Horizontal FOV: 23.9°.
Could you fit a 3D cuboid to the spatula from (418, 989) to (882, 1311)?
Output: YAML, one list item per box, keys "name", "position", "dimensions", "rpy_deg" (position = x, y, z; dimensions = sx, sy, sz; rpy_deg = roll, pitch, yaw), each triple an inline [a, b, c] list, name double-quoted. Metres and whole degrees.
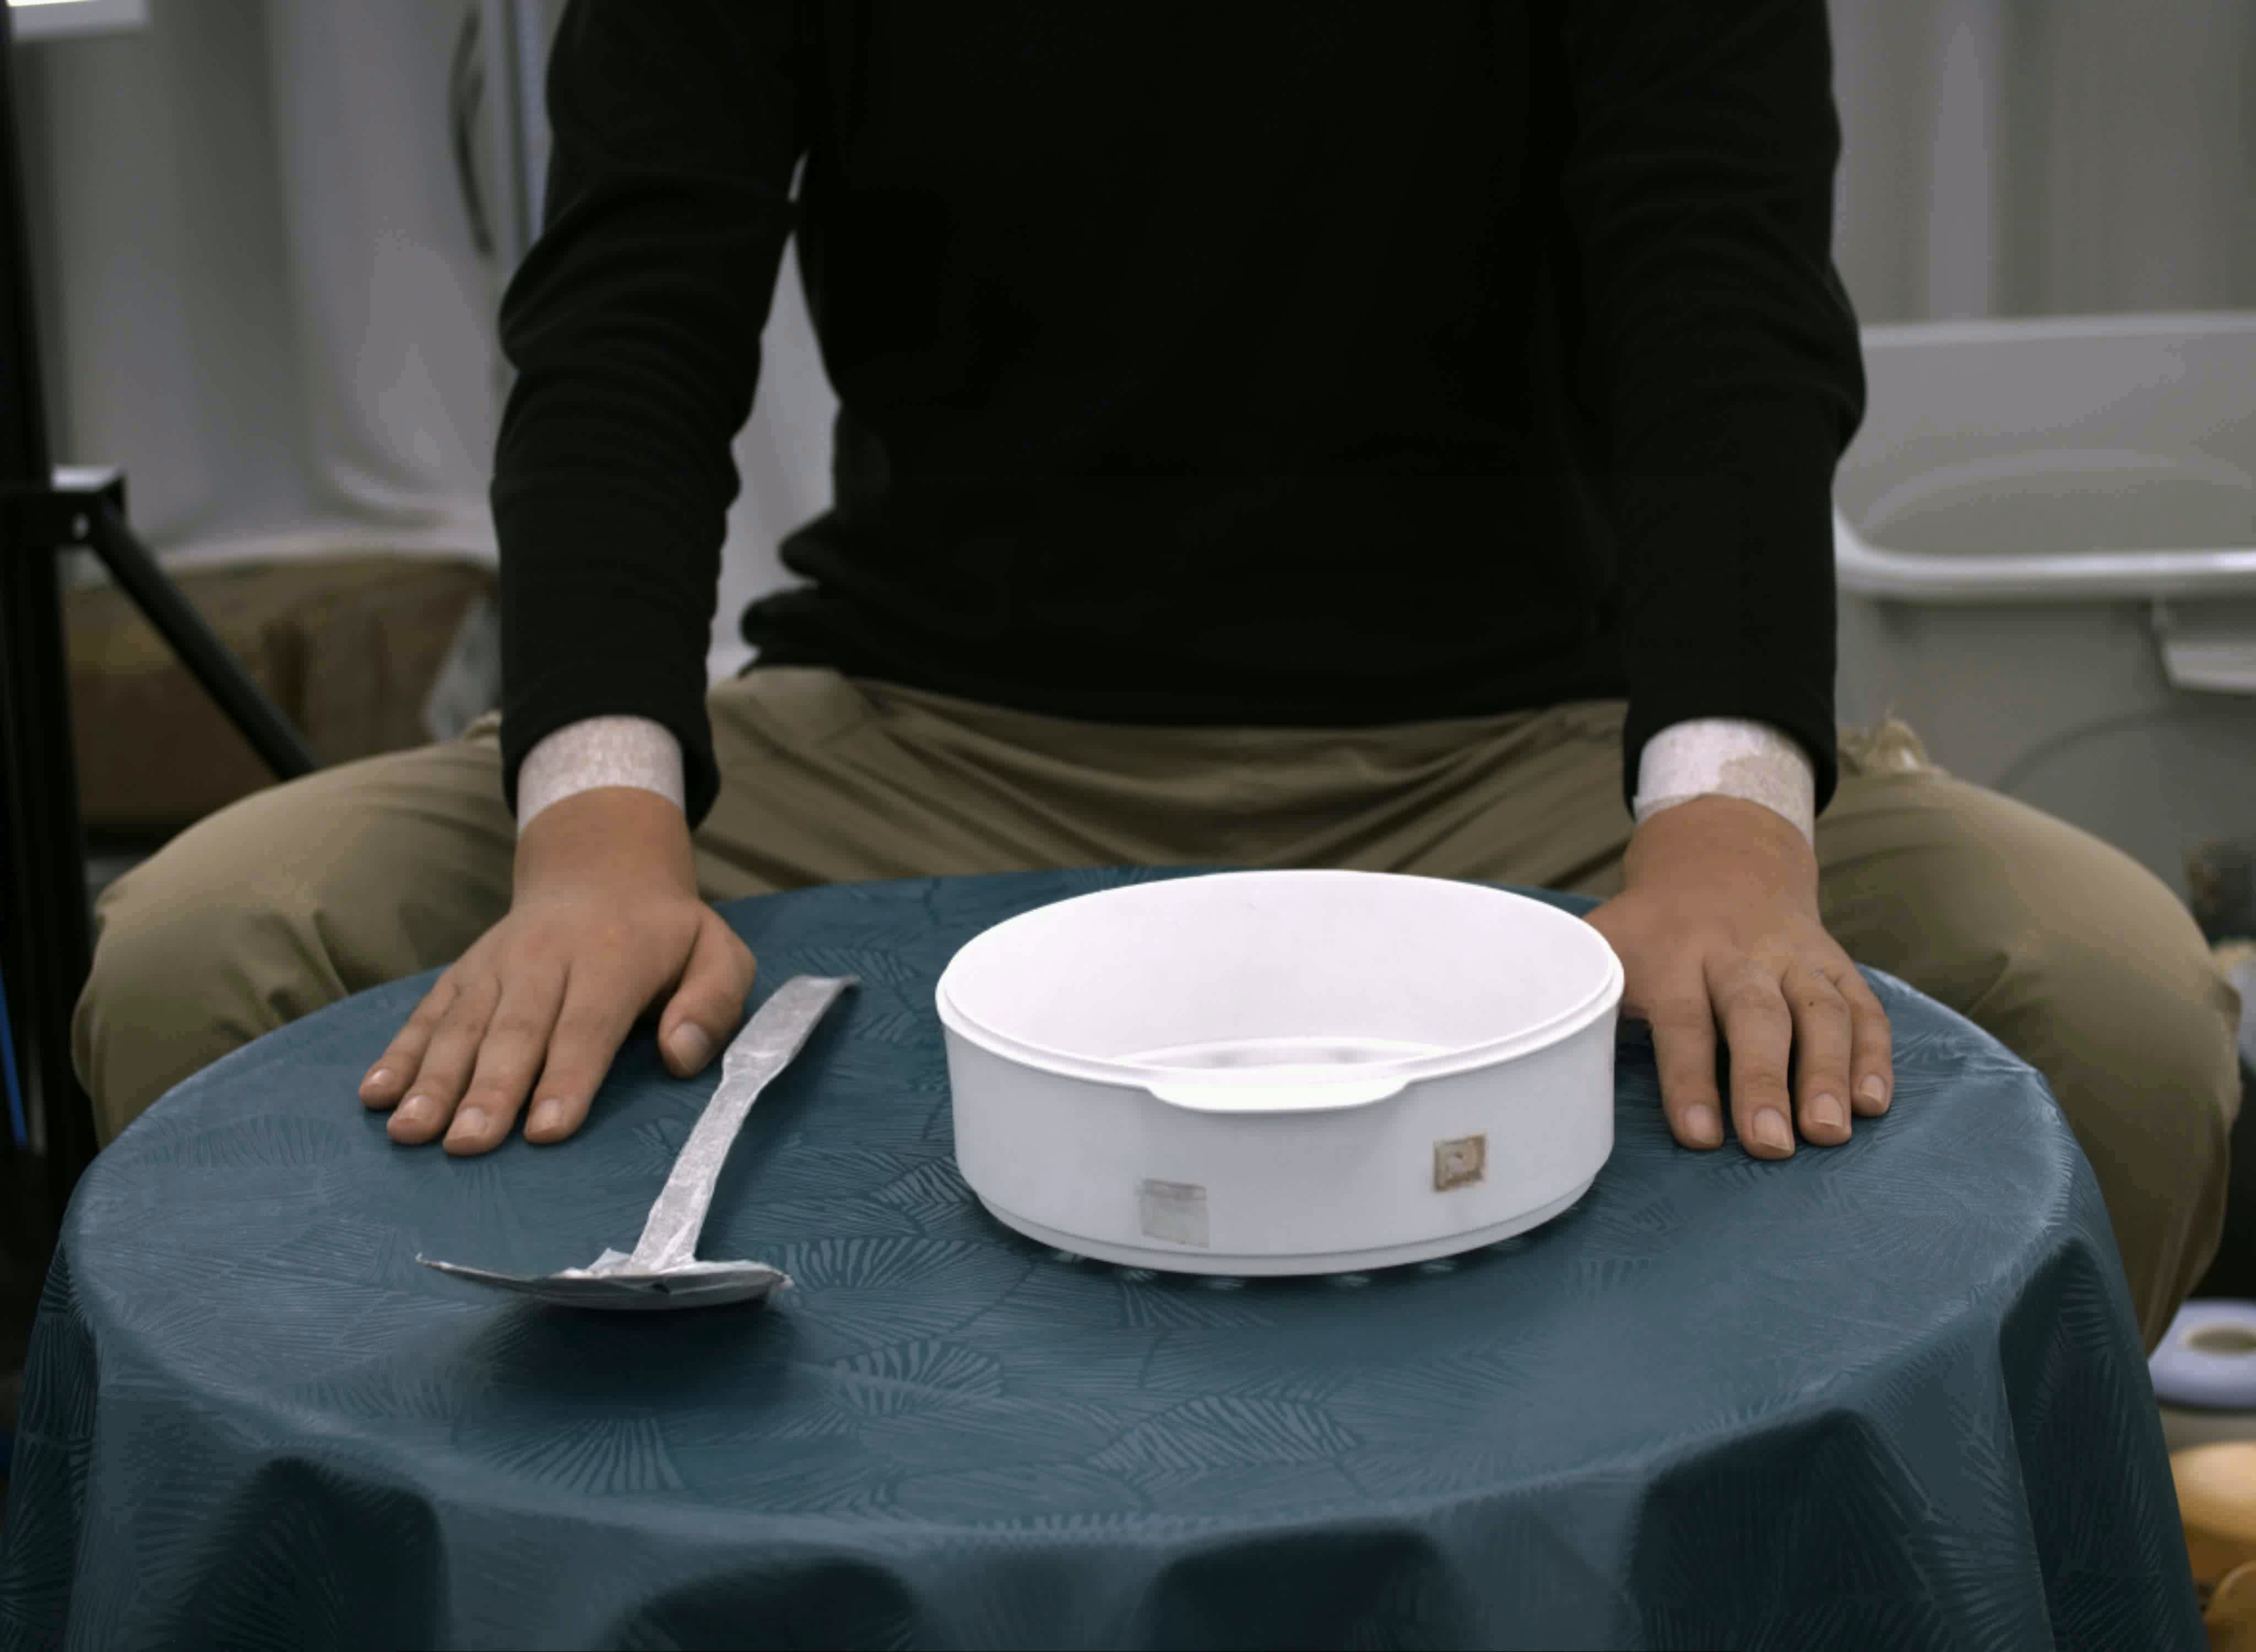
- name: "spatula"
  position: [-0.119, 0.087, 1.581]
  dimensions: [0.099, 0.045, 0.364]
  rpy_deg: [-2, 16, 9]

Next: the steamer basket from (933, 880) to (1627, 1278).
- name: "steamer basket"
  position: [0.045, 0.073, 1.546]
  dimensions: [0.201, 0.069, 0.231]
  rpy_deg: [0, 15, 4]
